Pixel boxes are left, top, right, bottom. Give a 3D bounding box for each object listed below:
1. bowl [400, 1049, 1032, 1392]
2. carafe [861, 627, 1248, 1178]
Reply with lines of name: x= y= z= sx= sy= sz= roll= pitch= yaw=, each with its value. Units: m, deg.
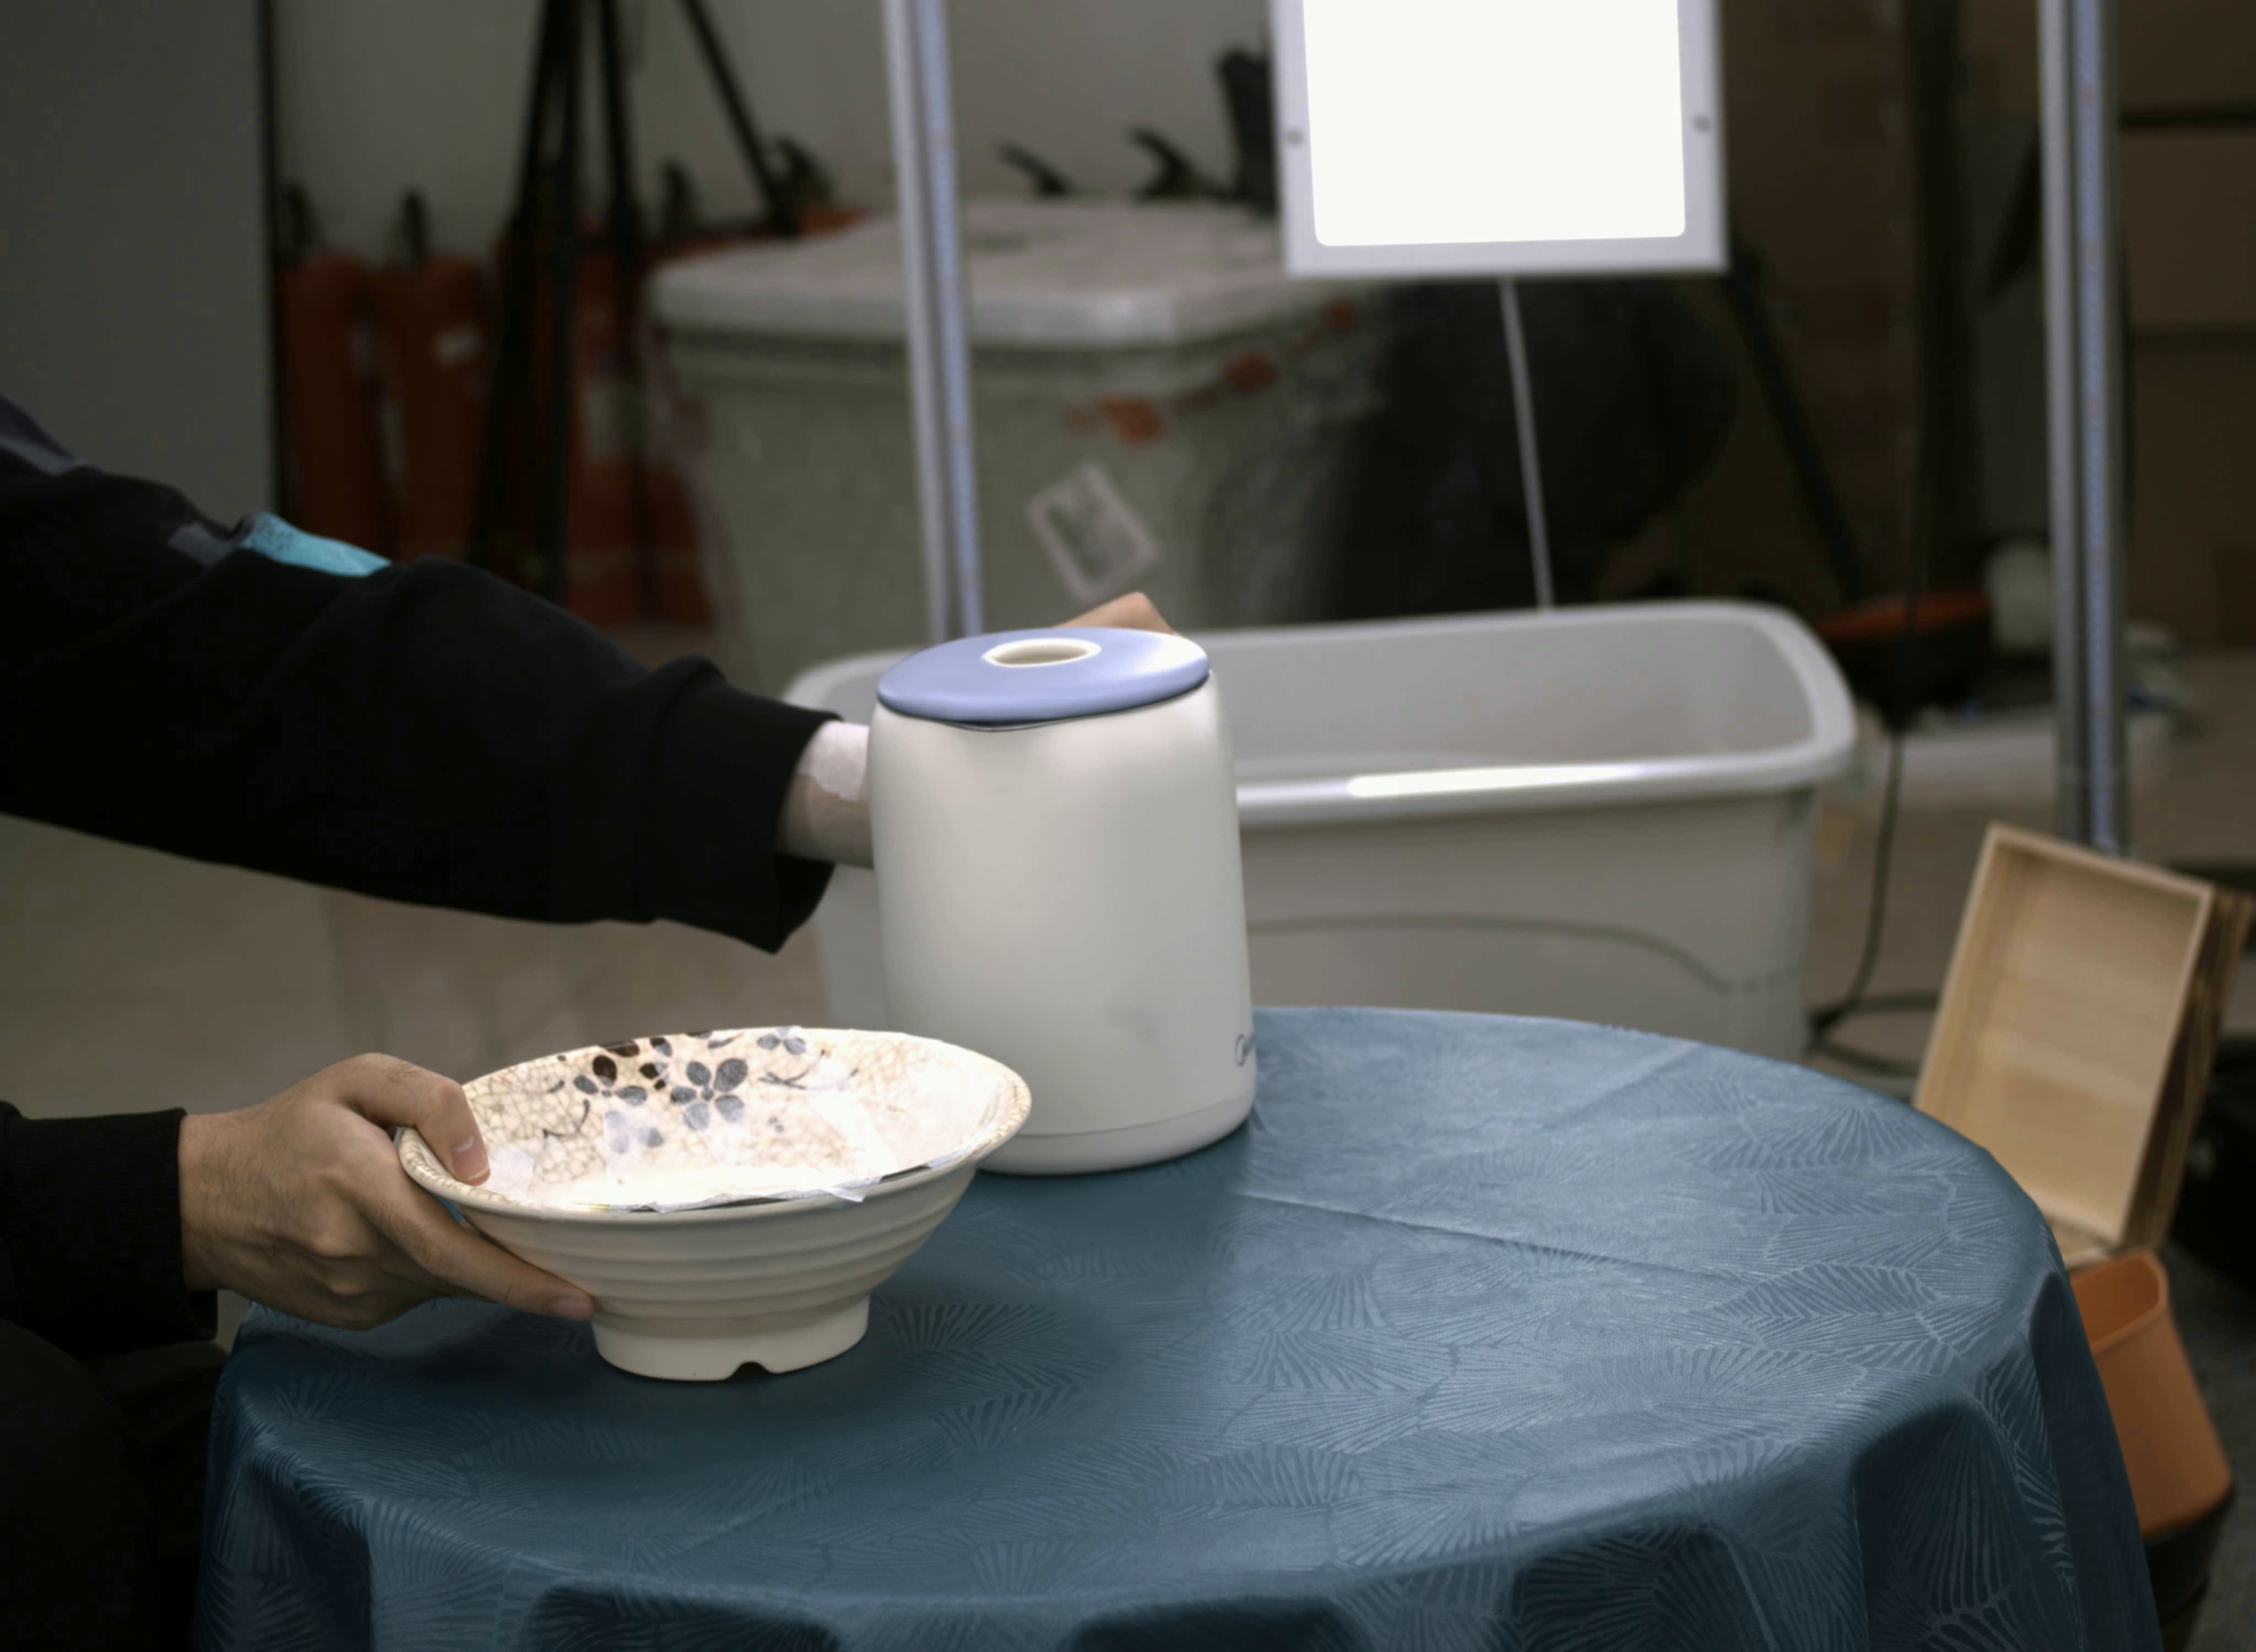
bowl: x=-0.127 y=0.132 z=1.768 sx=0.203 sy=0.078 sz=0.204 roll=-7 pitch=10 yaw=0
carafe: x=-0.021 y=0.021 z=1.976 sx=0.133 sy=0.183 sz=0.188 roll=0 pitch=12 yaw=13
